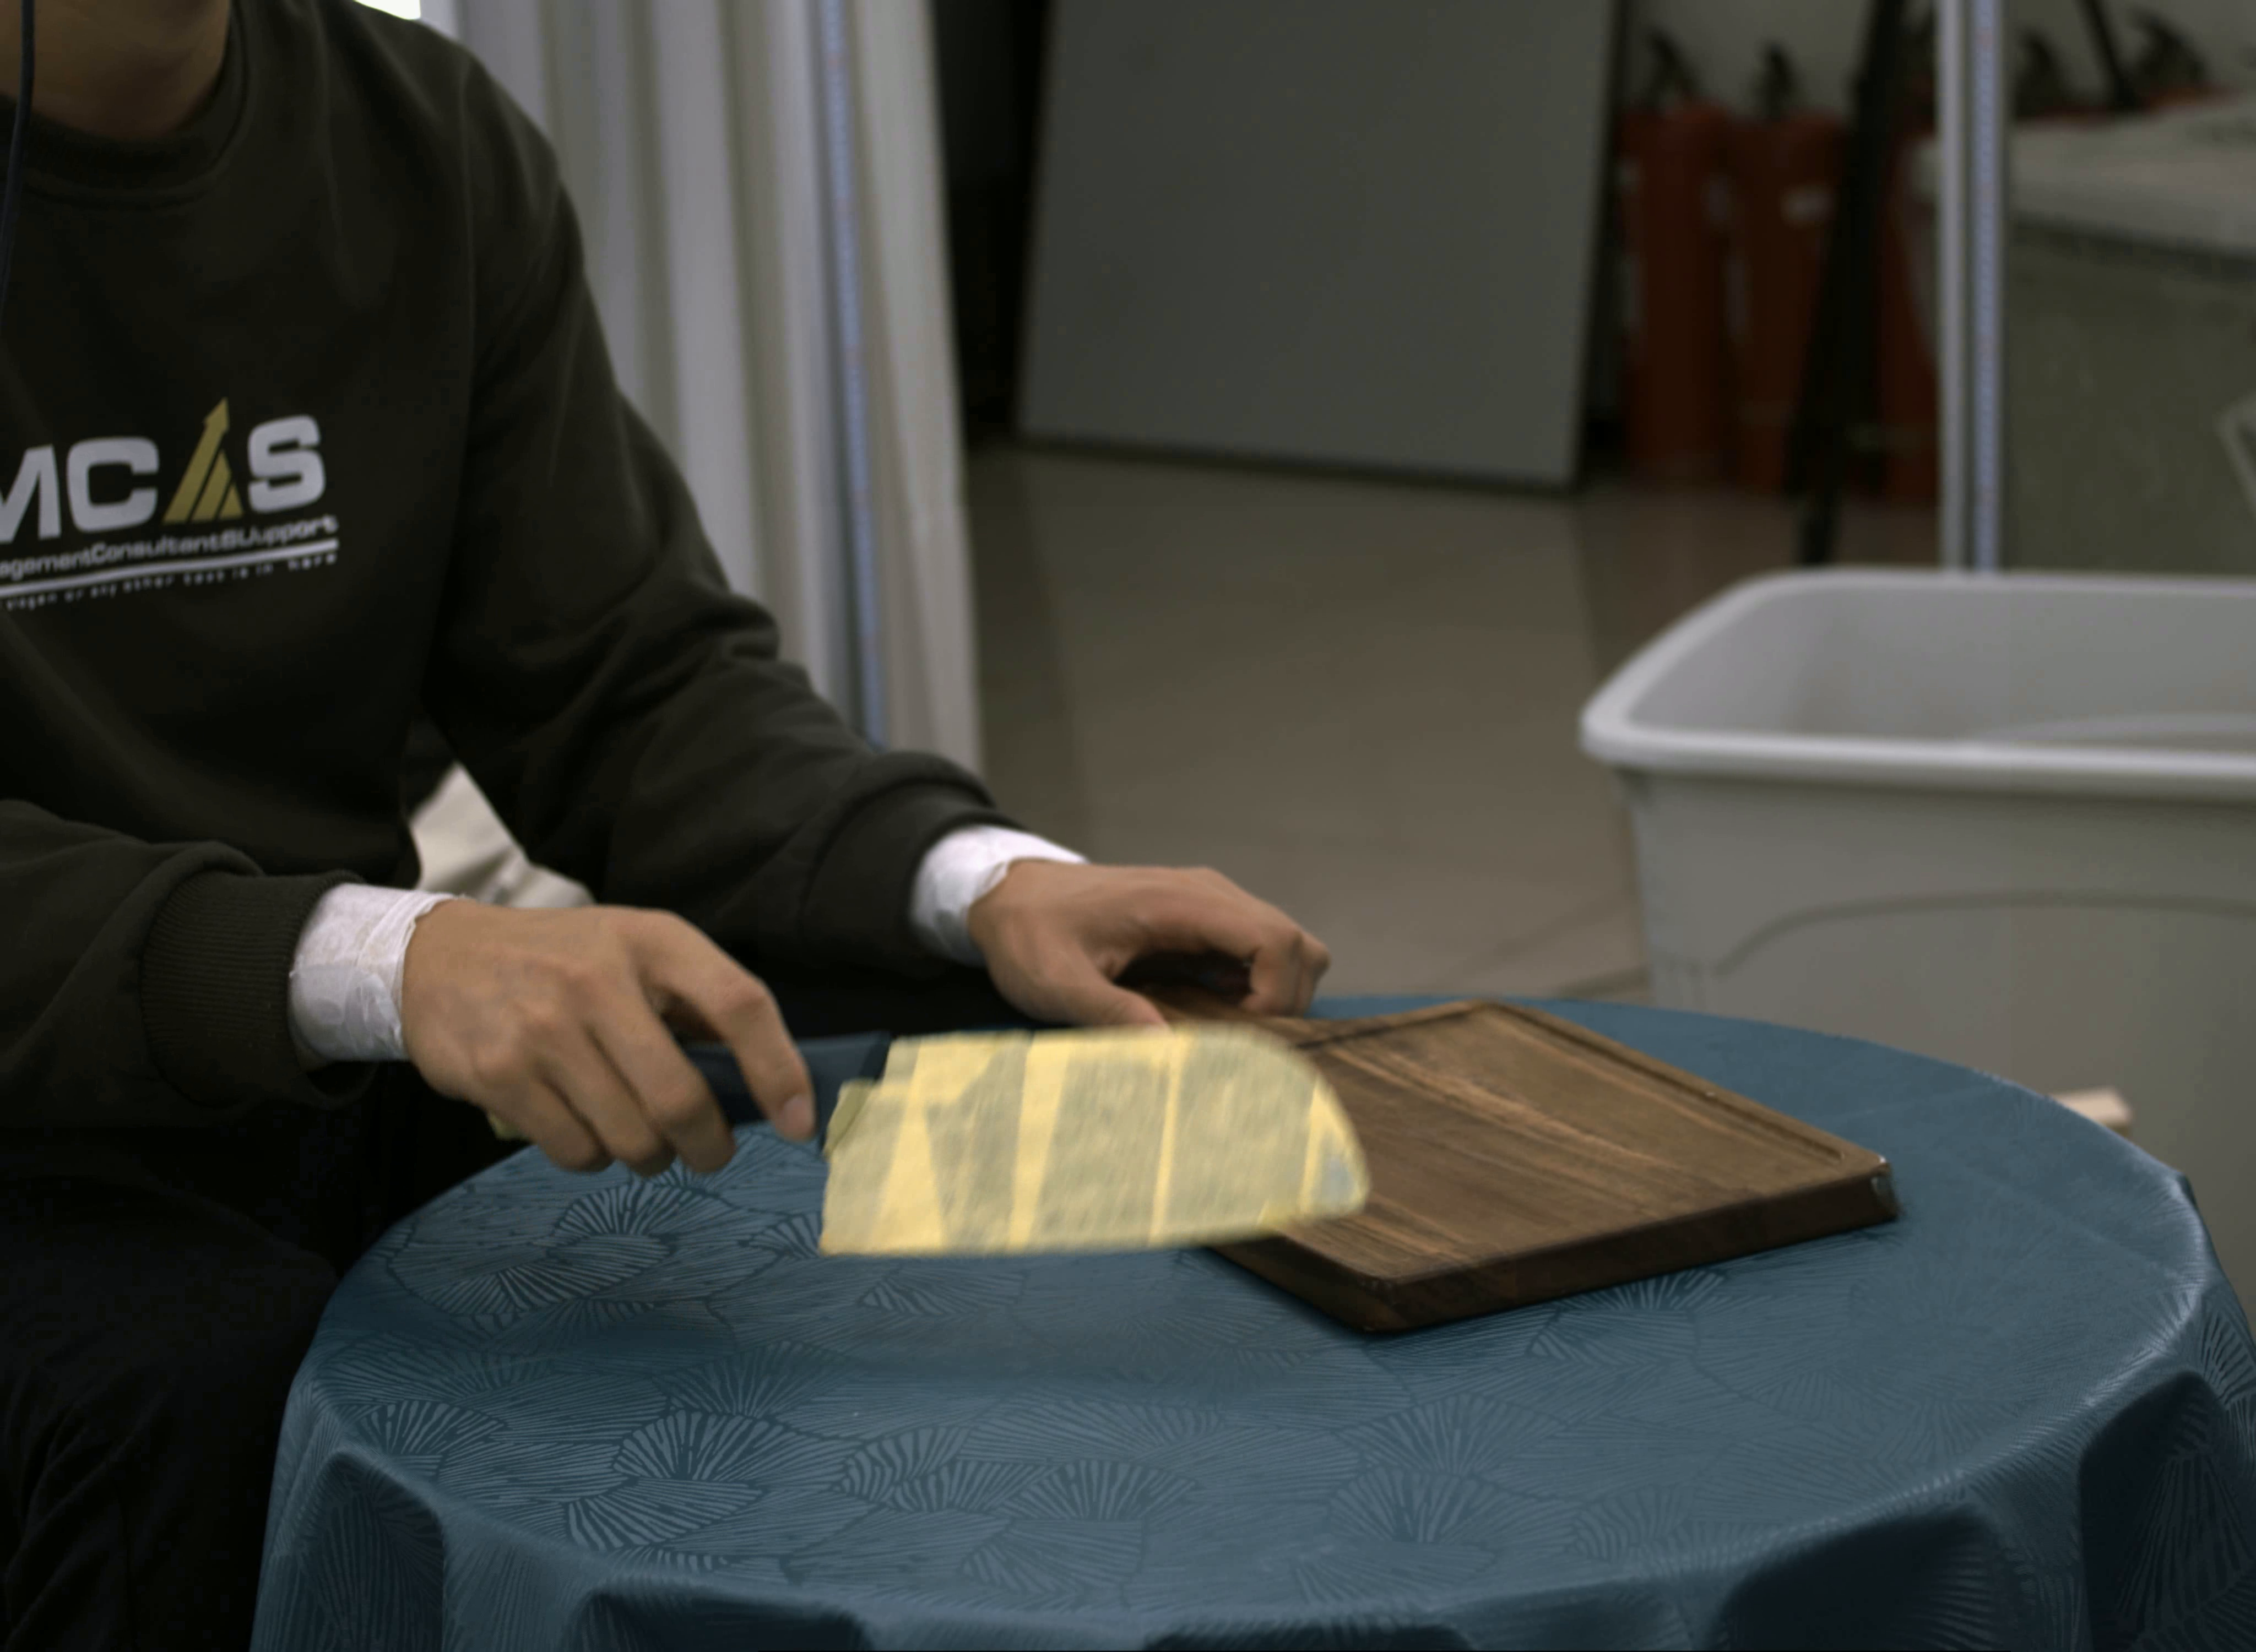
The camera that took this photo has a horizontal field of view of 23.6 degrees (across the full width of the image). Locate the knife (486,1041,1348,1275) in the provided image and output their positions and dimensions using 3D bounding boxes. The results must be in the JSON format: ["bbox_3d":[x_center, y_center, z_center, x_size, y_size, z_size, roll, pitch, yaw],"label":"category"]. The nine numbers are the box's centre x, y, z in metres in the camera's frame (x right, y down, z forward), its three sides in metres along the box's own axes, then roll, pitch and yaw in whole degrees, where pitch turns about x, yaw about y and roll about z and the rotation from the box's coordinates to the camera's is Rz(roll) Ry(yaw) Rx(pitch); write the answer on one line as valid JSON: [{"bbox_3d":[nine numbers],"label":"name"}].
[{"bbox_3d":[-0.067,0.100,1.634,0.289,0.027,0.081,-1,56,23],"label":"knife"}]

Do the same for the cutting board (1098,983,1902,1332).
[{"bbox_3d":[0.082,0.098,1.802,0.196,0.023,0.356,-10,14,-25],"label":"cutting board"}]
